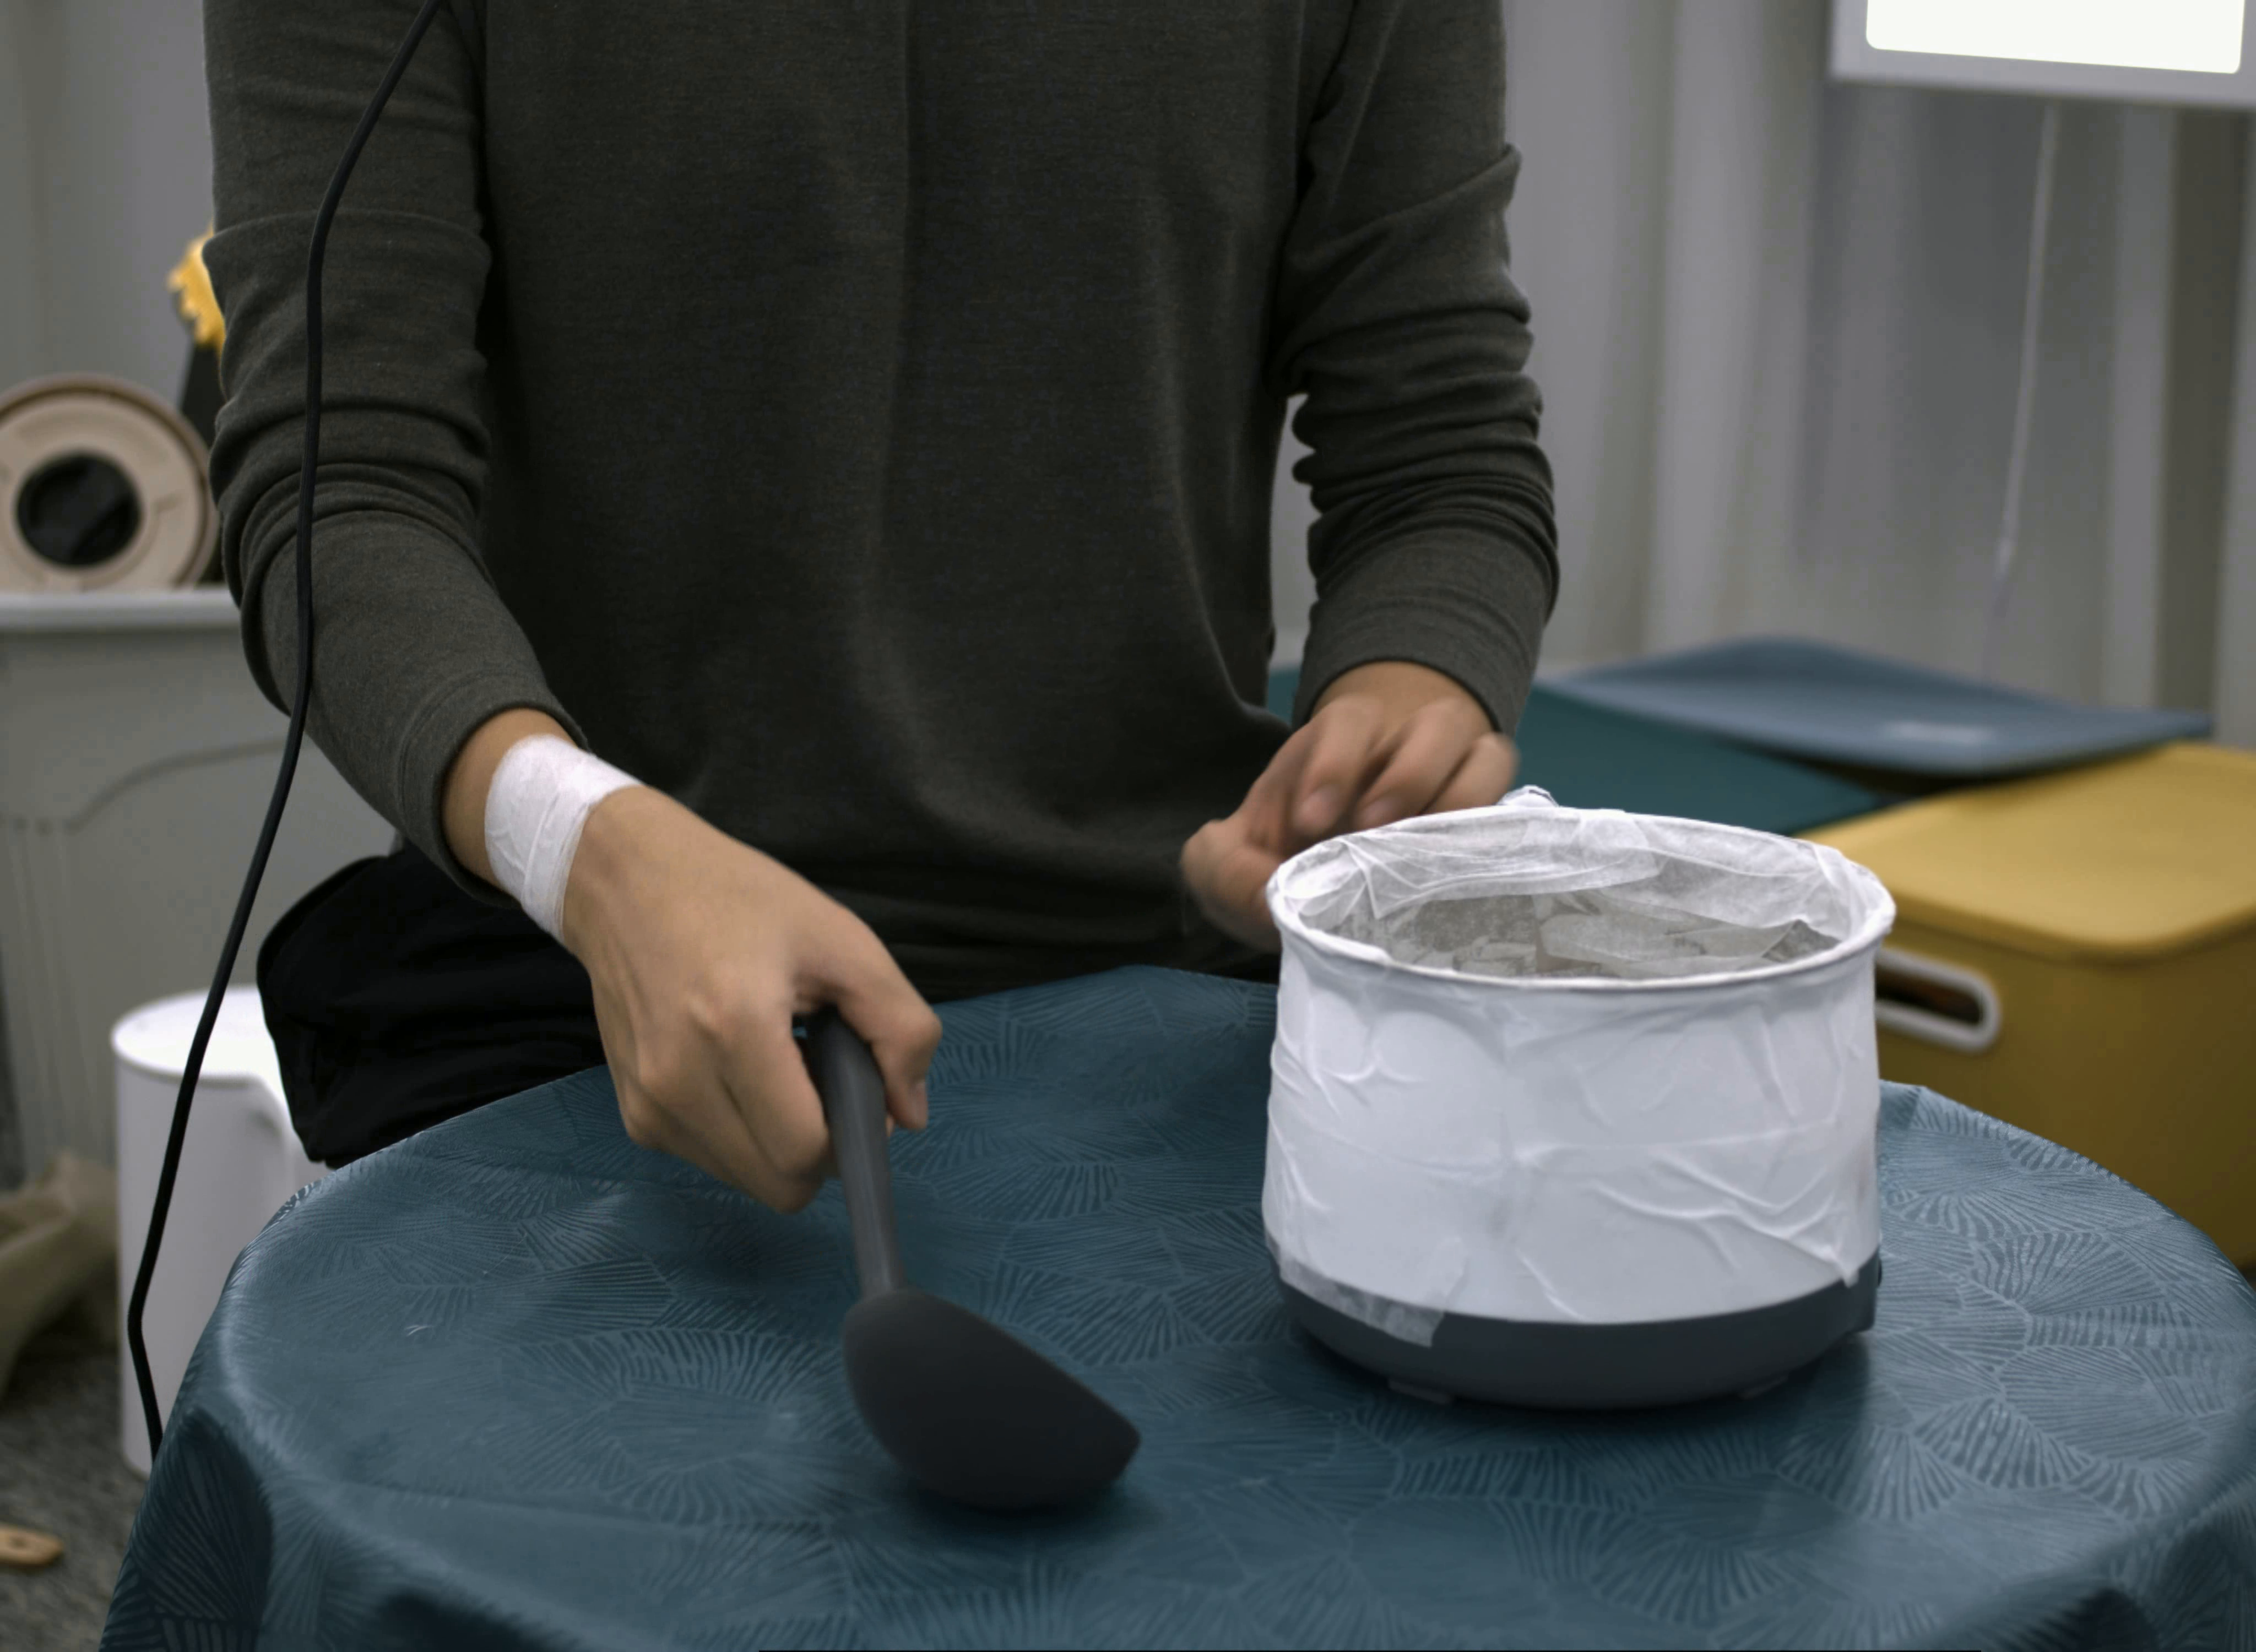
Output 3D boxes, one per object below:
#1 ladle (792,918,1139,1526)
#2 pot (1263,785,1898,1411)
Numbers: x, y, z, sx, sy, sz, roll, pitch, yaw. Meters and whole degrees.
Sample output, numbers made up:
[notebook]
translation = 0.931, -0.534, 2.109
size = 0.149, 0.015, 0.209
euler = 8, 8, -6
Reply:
[ladle]
translation = -0.058, 0.091, 1.473
size = 0.064, 0.087, 0.311
euler = -39, 27, 13
[pot]
translation = 0.124, 0.072, 1.517
size = 0.178, 0.138, 0.232
euler = -1, 15, -5
